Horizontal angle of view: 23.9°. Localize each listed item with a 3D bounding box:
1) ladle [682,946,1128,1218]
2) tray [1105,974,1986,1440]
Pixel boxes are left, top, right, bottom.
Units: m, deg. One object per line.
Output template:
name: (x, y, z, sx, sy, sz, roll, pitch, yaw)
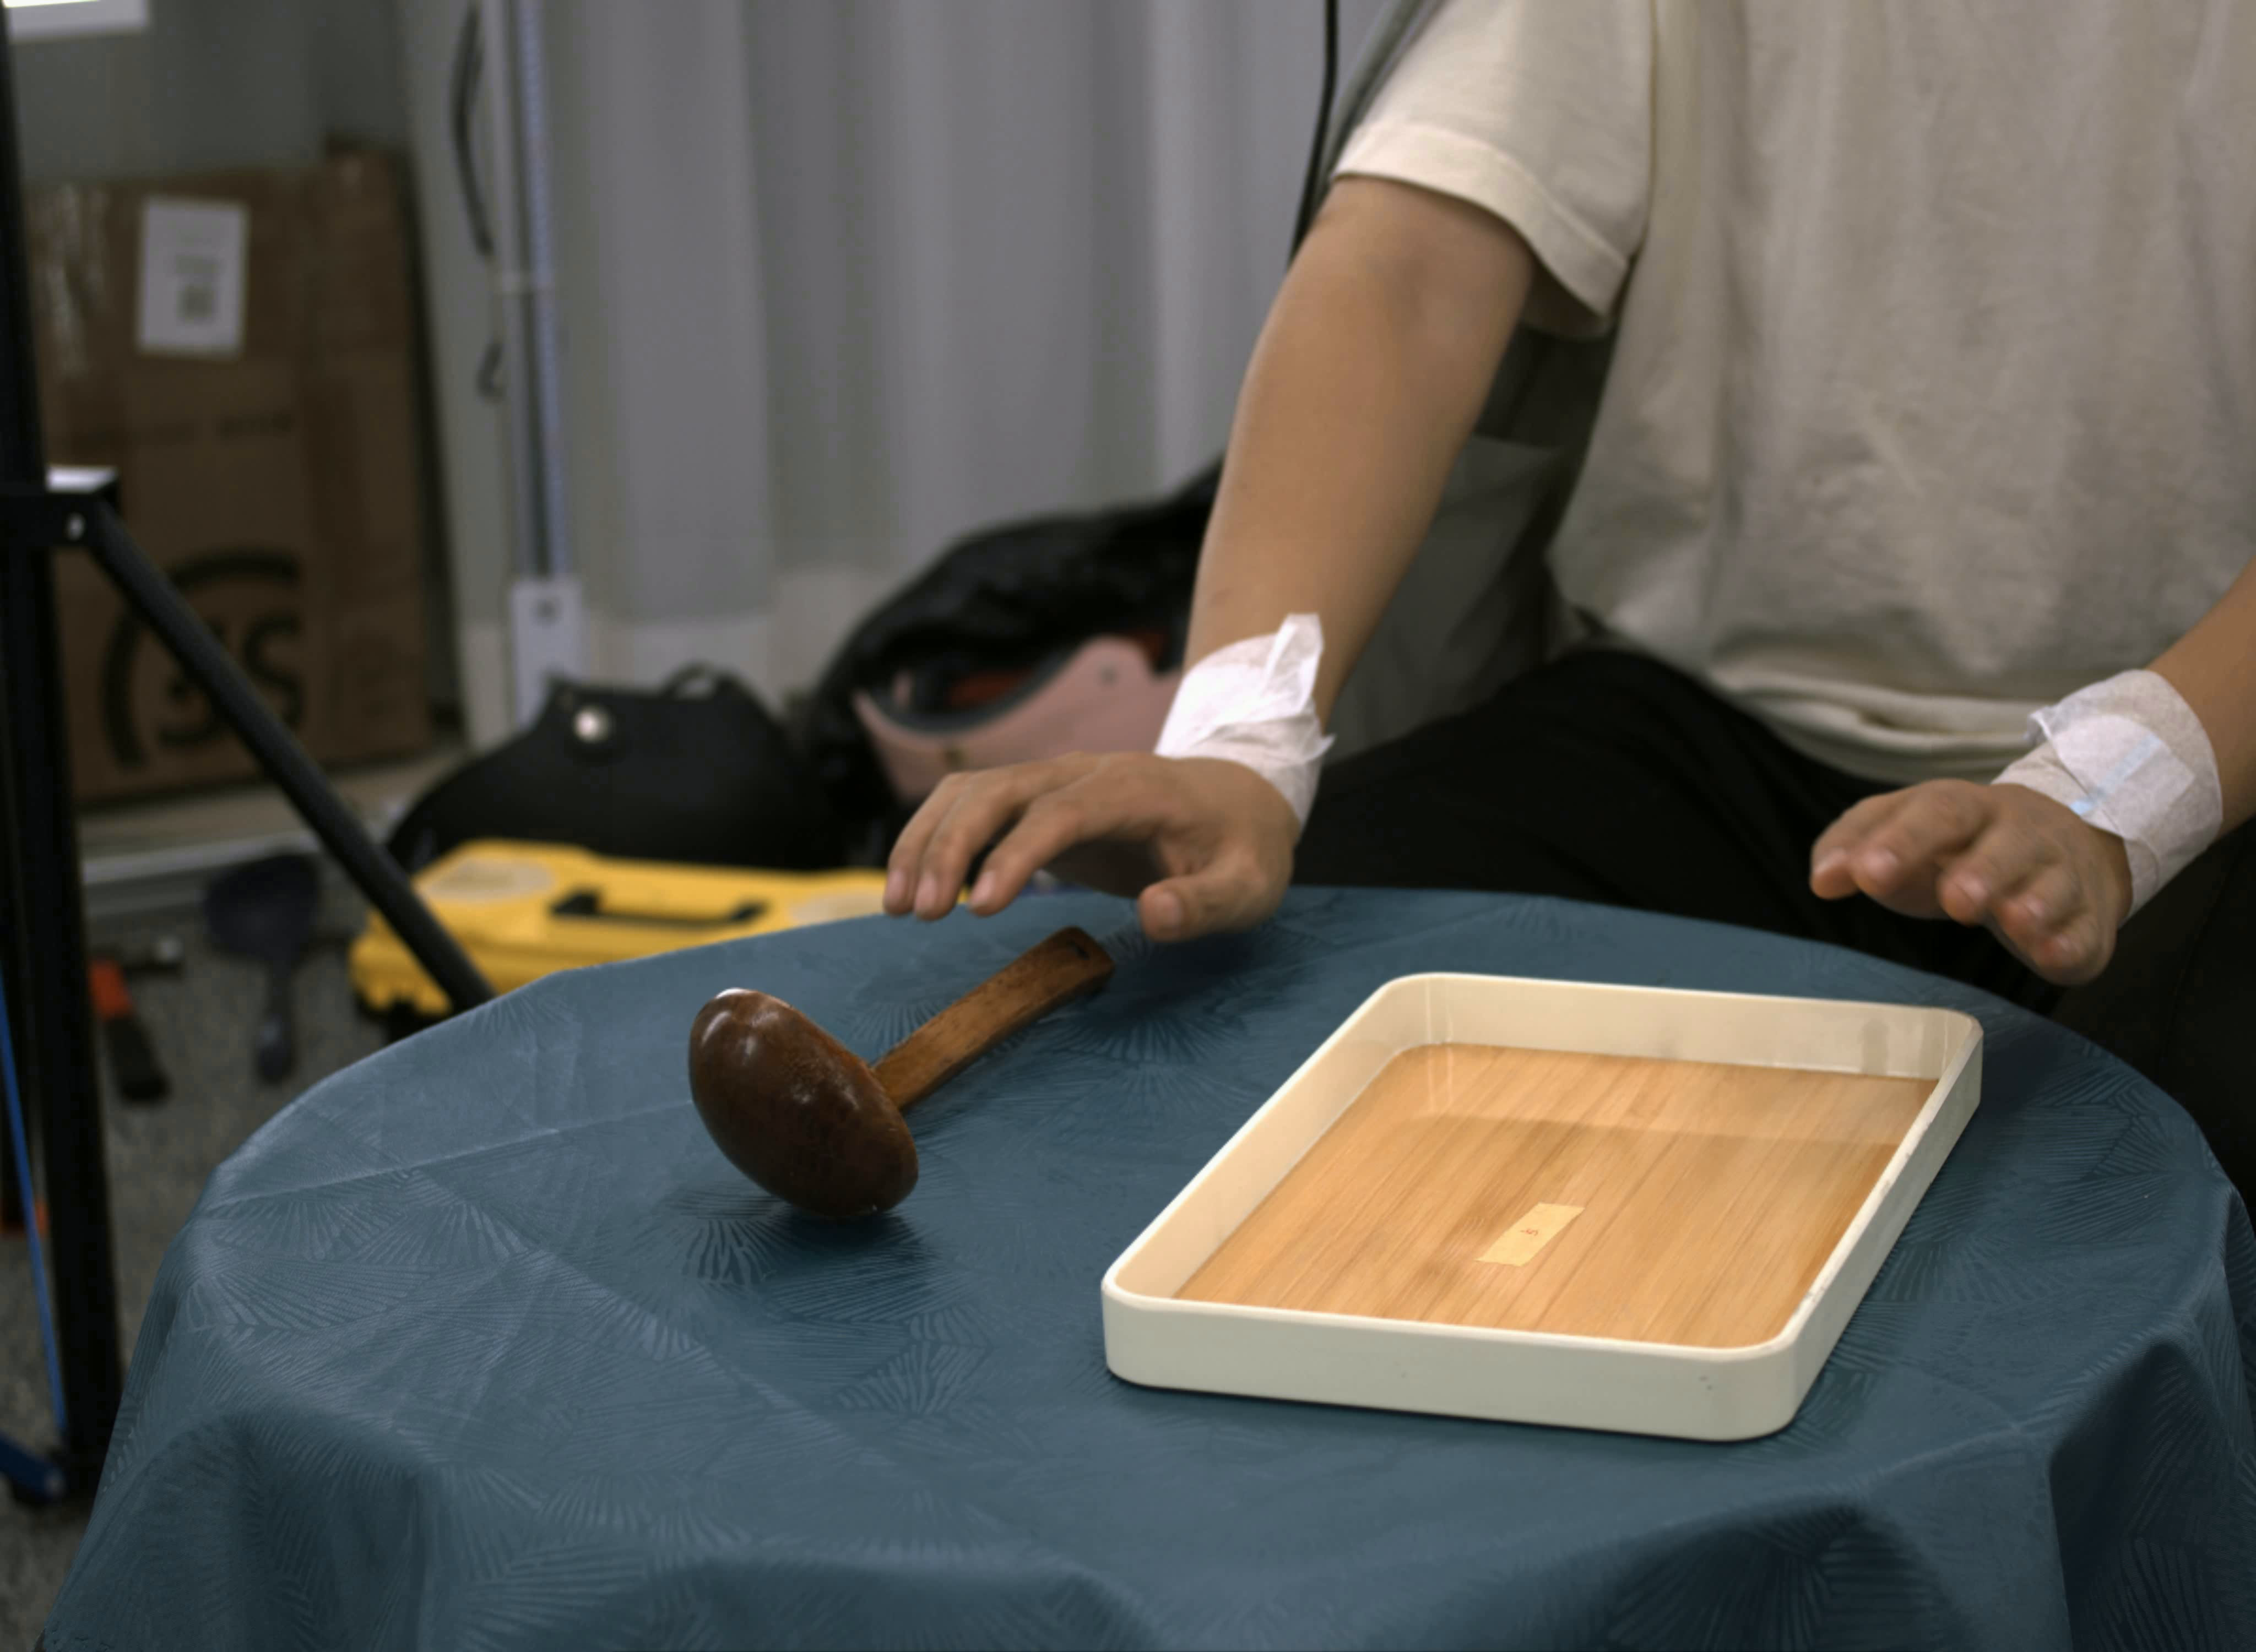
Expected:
ladle: (-0.052, 0.056, 1.624, 0.082, 0.077, 0.269, 43, 28, 10)
tray: (0.127, 0.103, 1.503, 0.194, 0.027, 0.297, 3, 16, 20)
